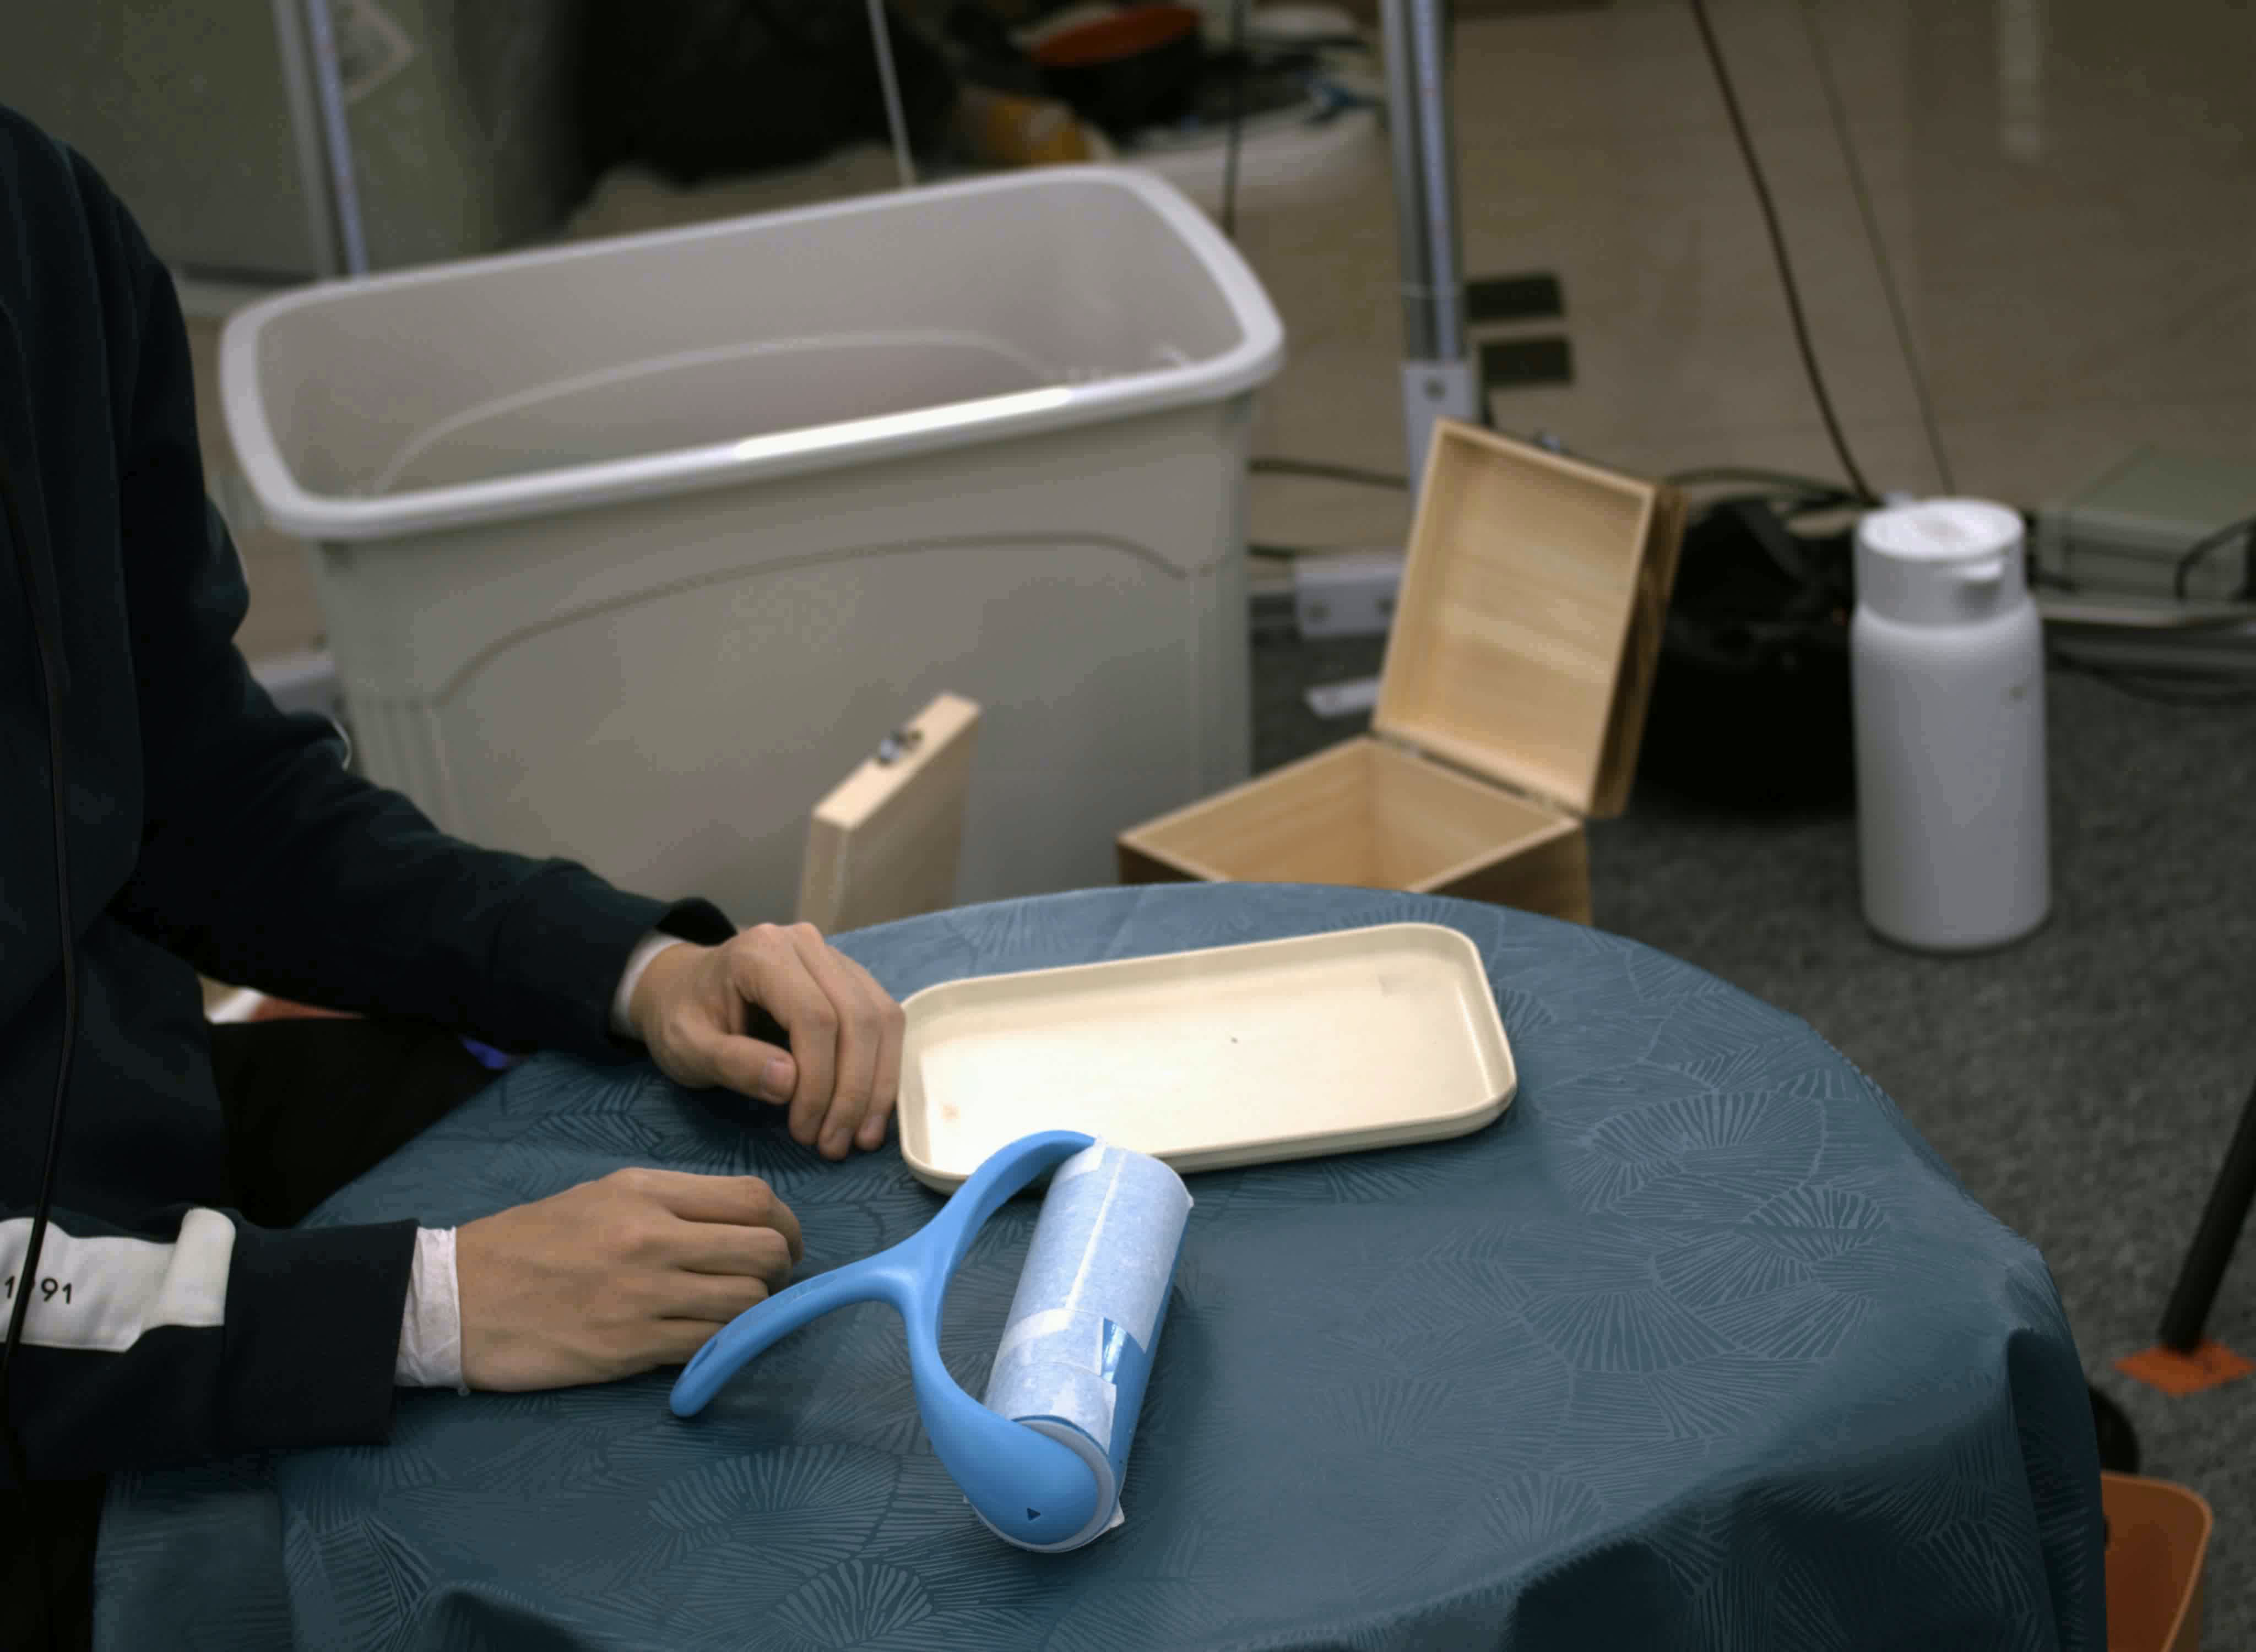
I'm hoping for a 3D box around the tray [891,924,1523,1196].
[{"bbox_3d":[0.029,0.092,2.215,0.239,0.018,0.169,-8,24,-1],"label":"tray"}]

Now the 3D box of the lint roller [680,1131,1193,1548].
[{"bbox_3d":[-0.074,0.182,2.002,0.180,0.069,0.225,-3,27,7],"label":"lint roller"}]
